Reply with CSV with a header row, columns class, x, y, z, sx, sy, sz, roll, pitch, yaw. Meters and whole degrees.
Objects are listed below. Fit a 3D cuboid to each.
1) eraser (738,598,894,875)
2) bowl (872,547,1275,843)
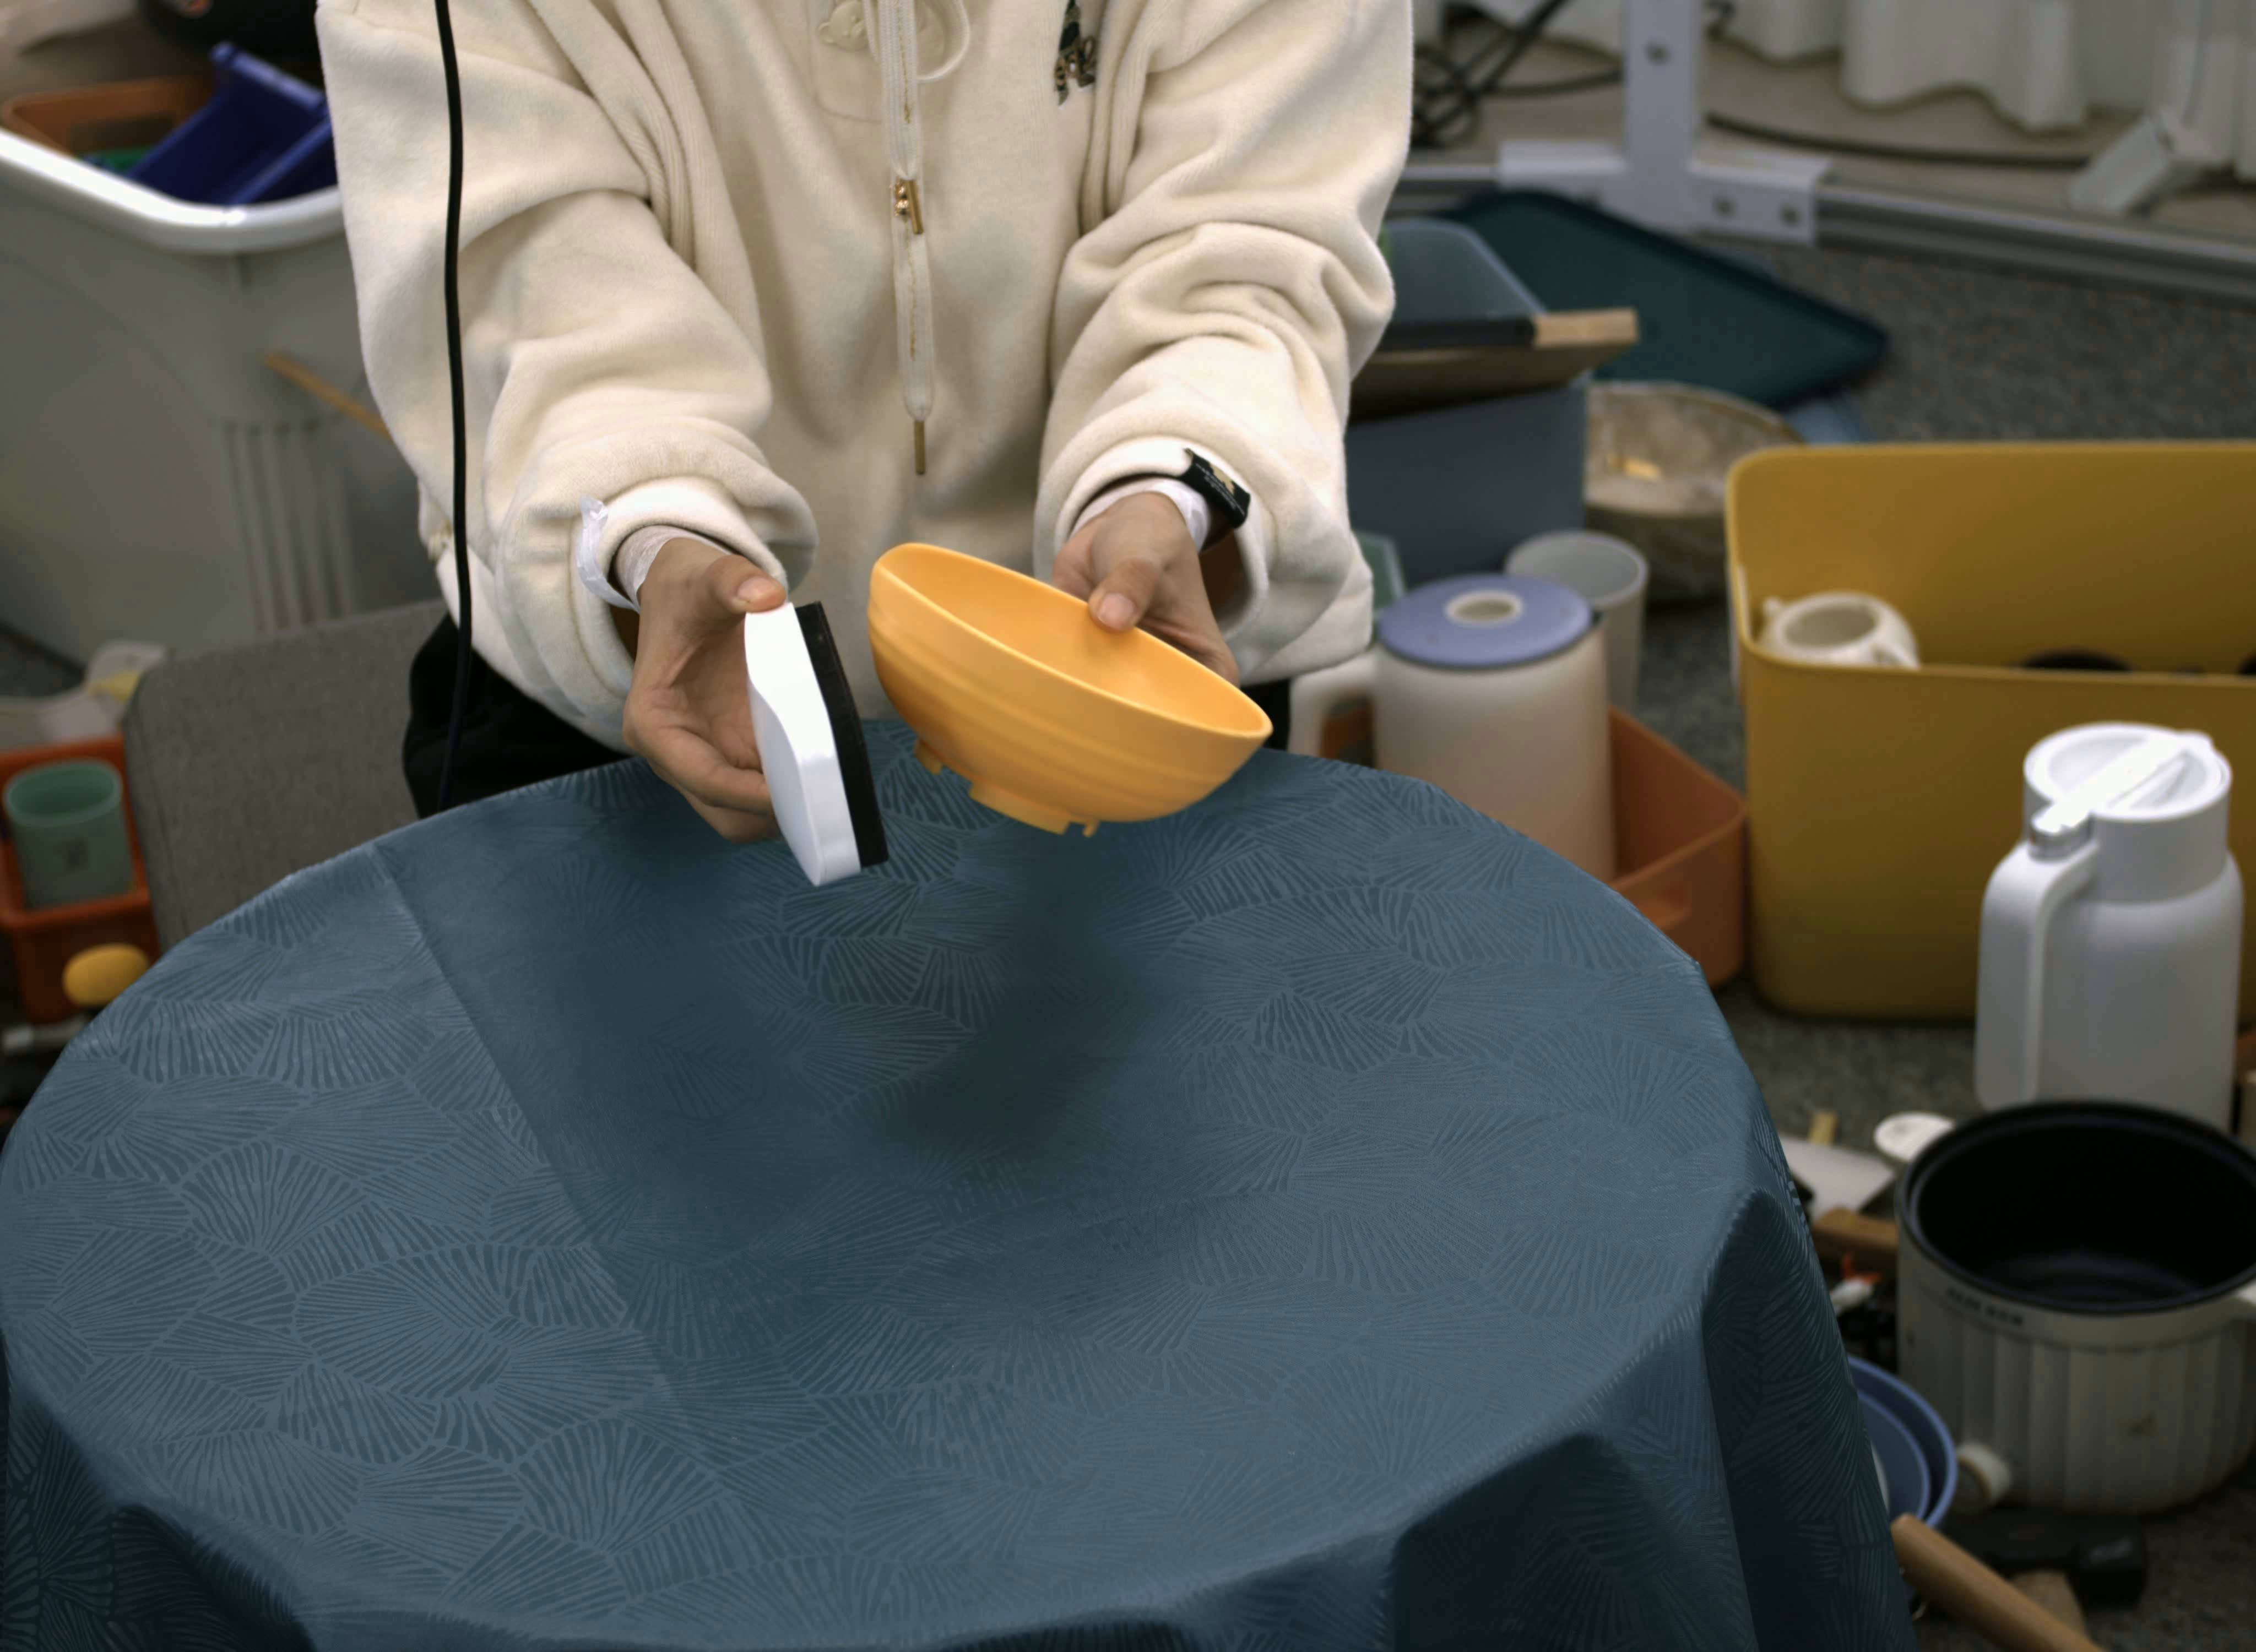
class,x,y,z,sx,sy,sz,roll,pitch,yaw
eraser,-0.104,-0.032,1.840,0.034,0.063,0.132,-11,21,-7
bowl,-0.027,-0.035,1.866,0.145,0.060,0.146,24,13,-5
